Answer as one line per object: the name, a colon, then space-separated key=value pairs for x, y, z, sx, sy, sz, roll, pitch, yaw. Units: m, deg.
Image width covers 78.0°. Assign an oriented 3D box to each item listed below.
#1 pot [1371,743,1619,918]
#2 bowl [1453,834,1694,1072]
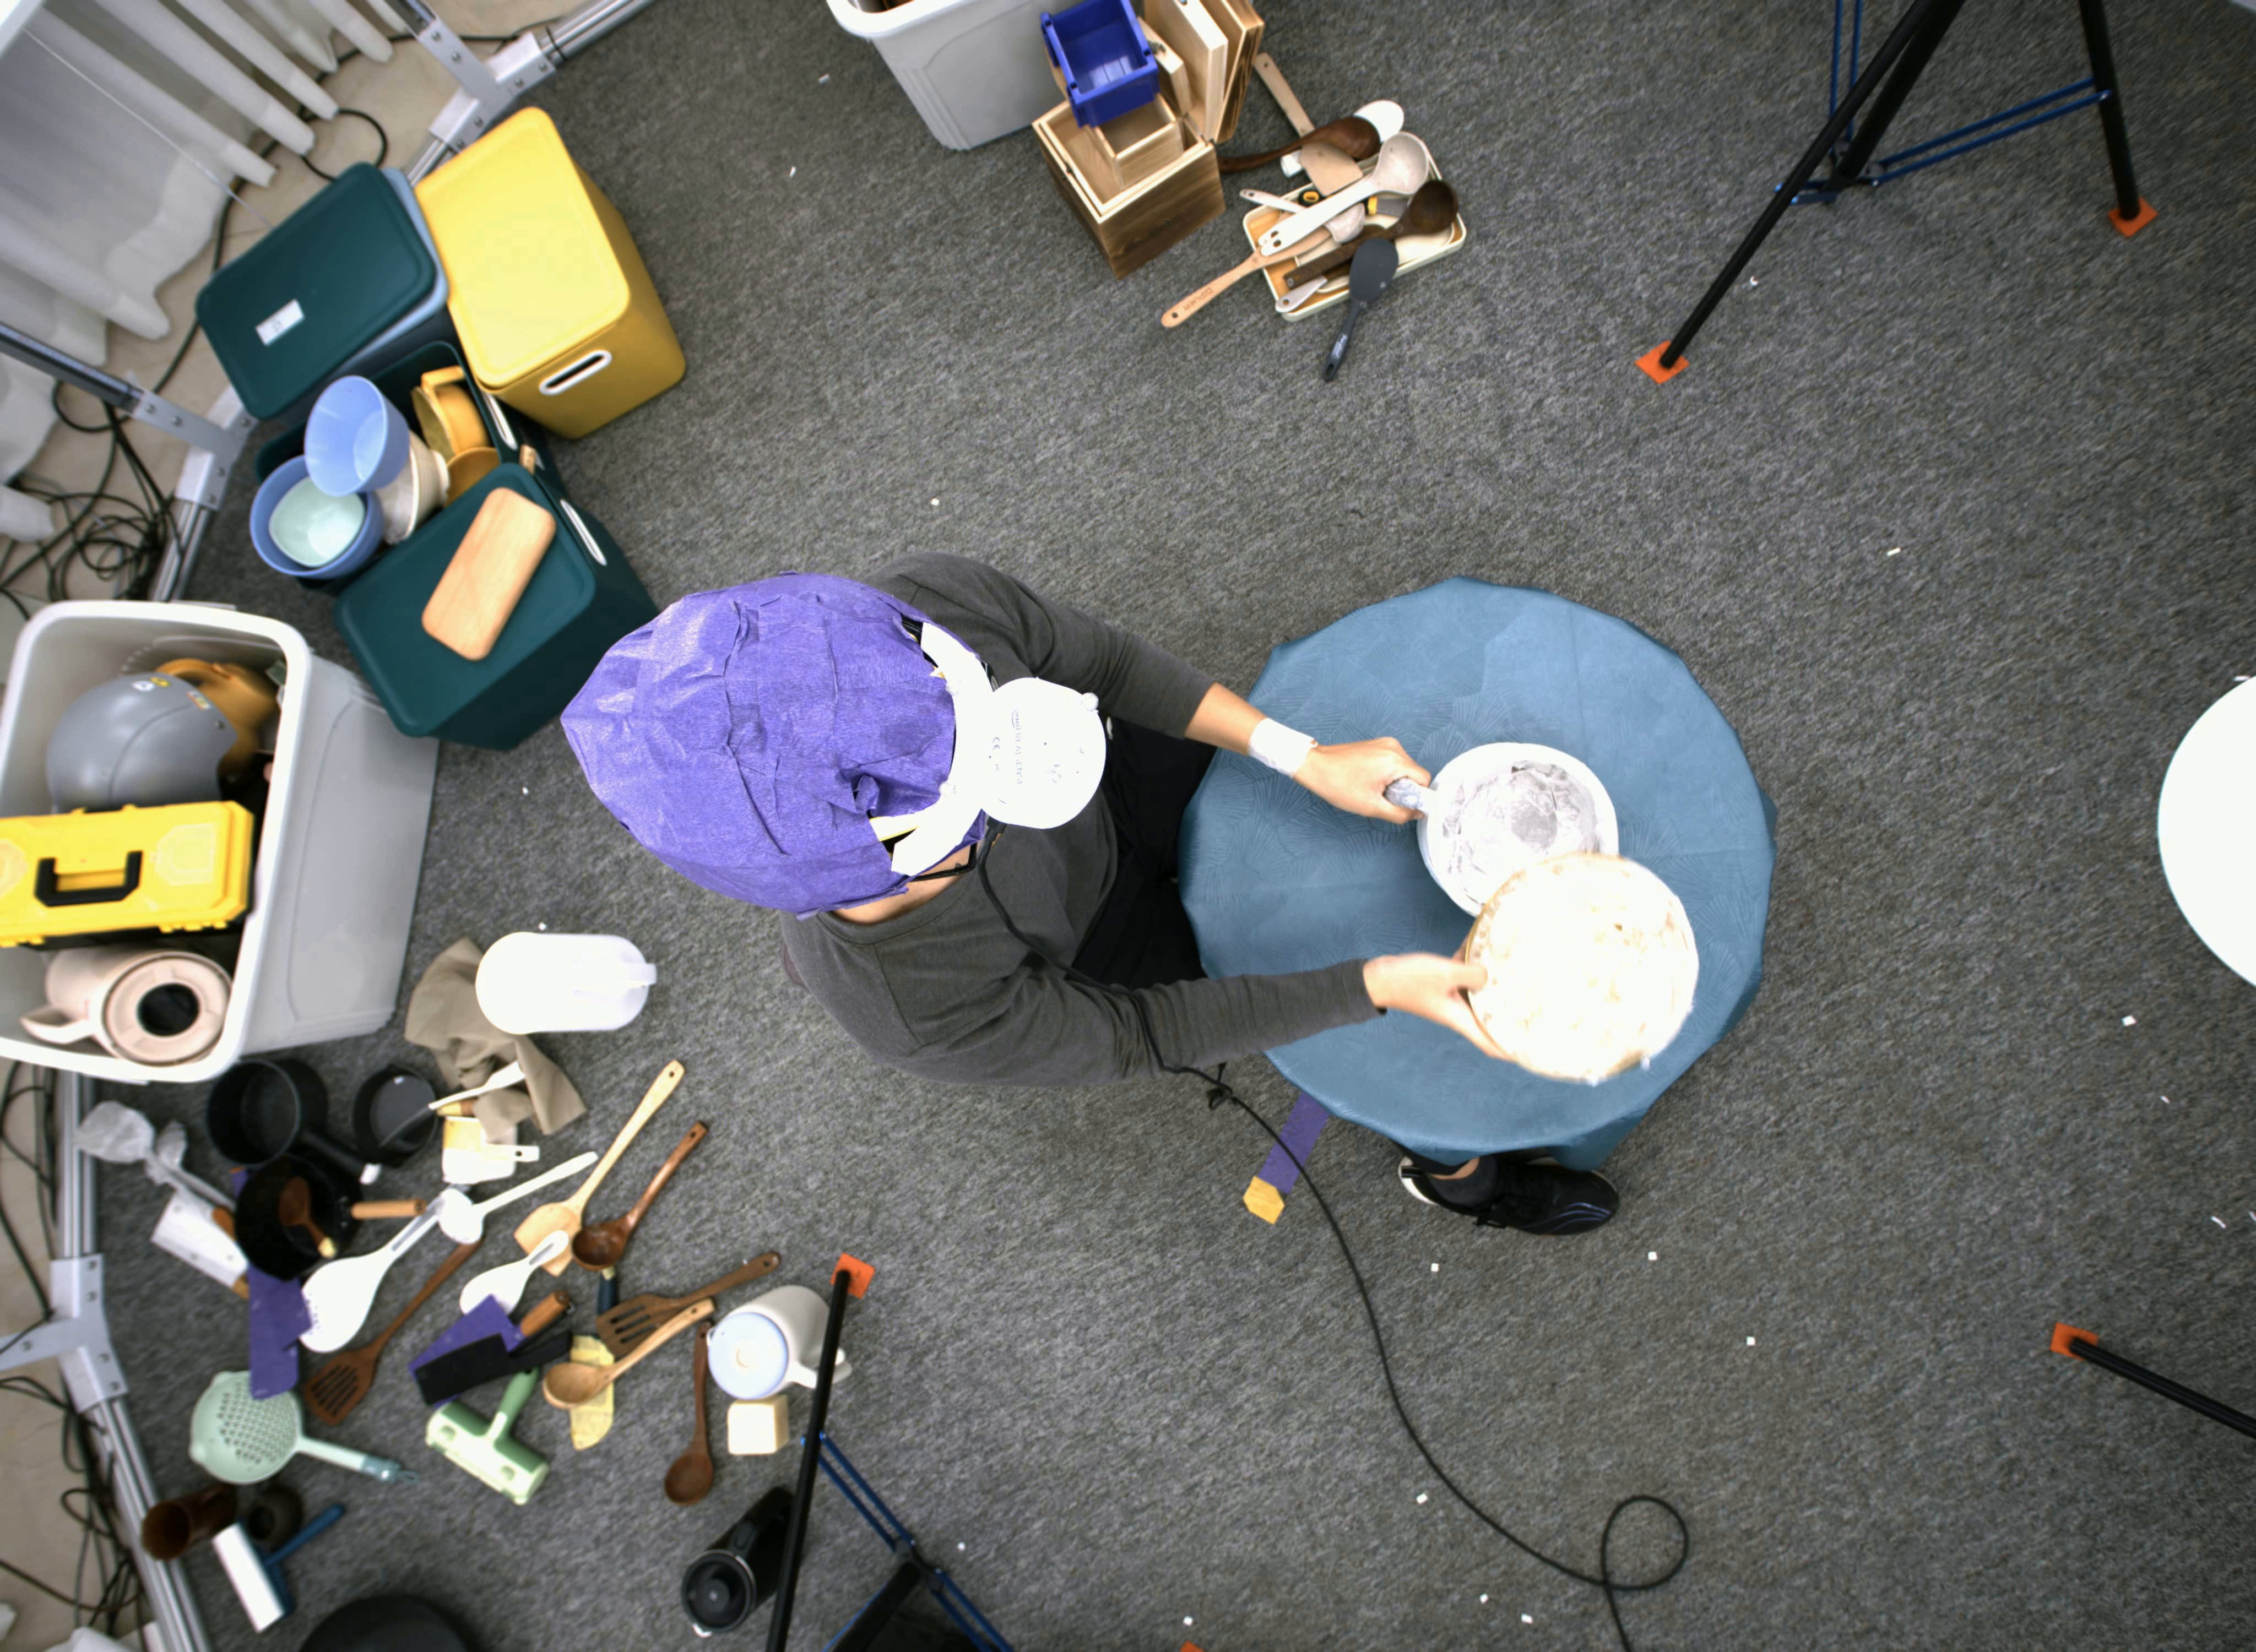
pot: x=0.355 y=-0.005 z=1.363 sx=0.234 sy=0.135 sz=0.180 roll=20 pitch=98 yaw=5
bowl: x=0.406 y=0.120 z=1.222 sx=0.218 sy=0.095 sz=0.211 roll=-17 pitch=64 yaw=37
